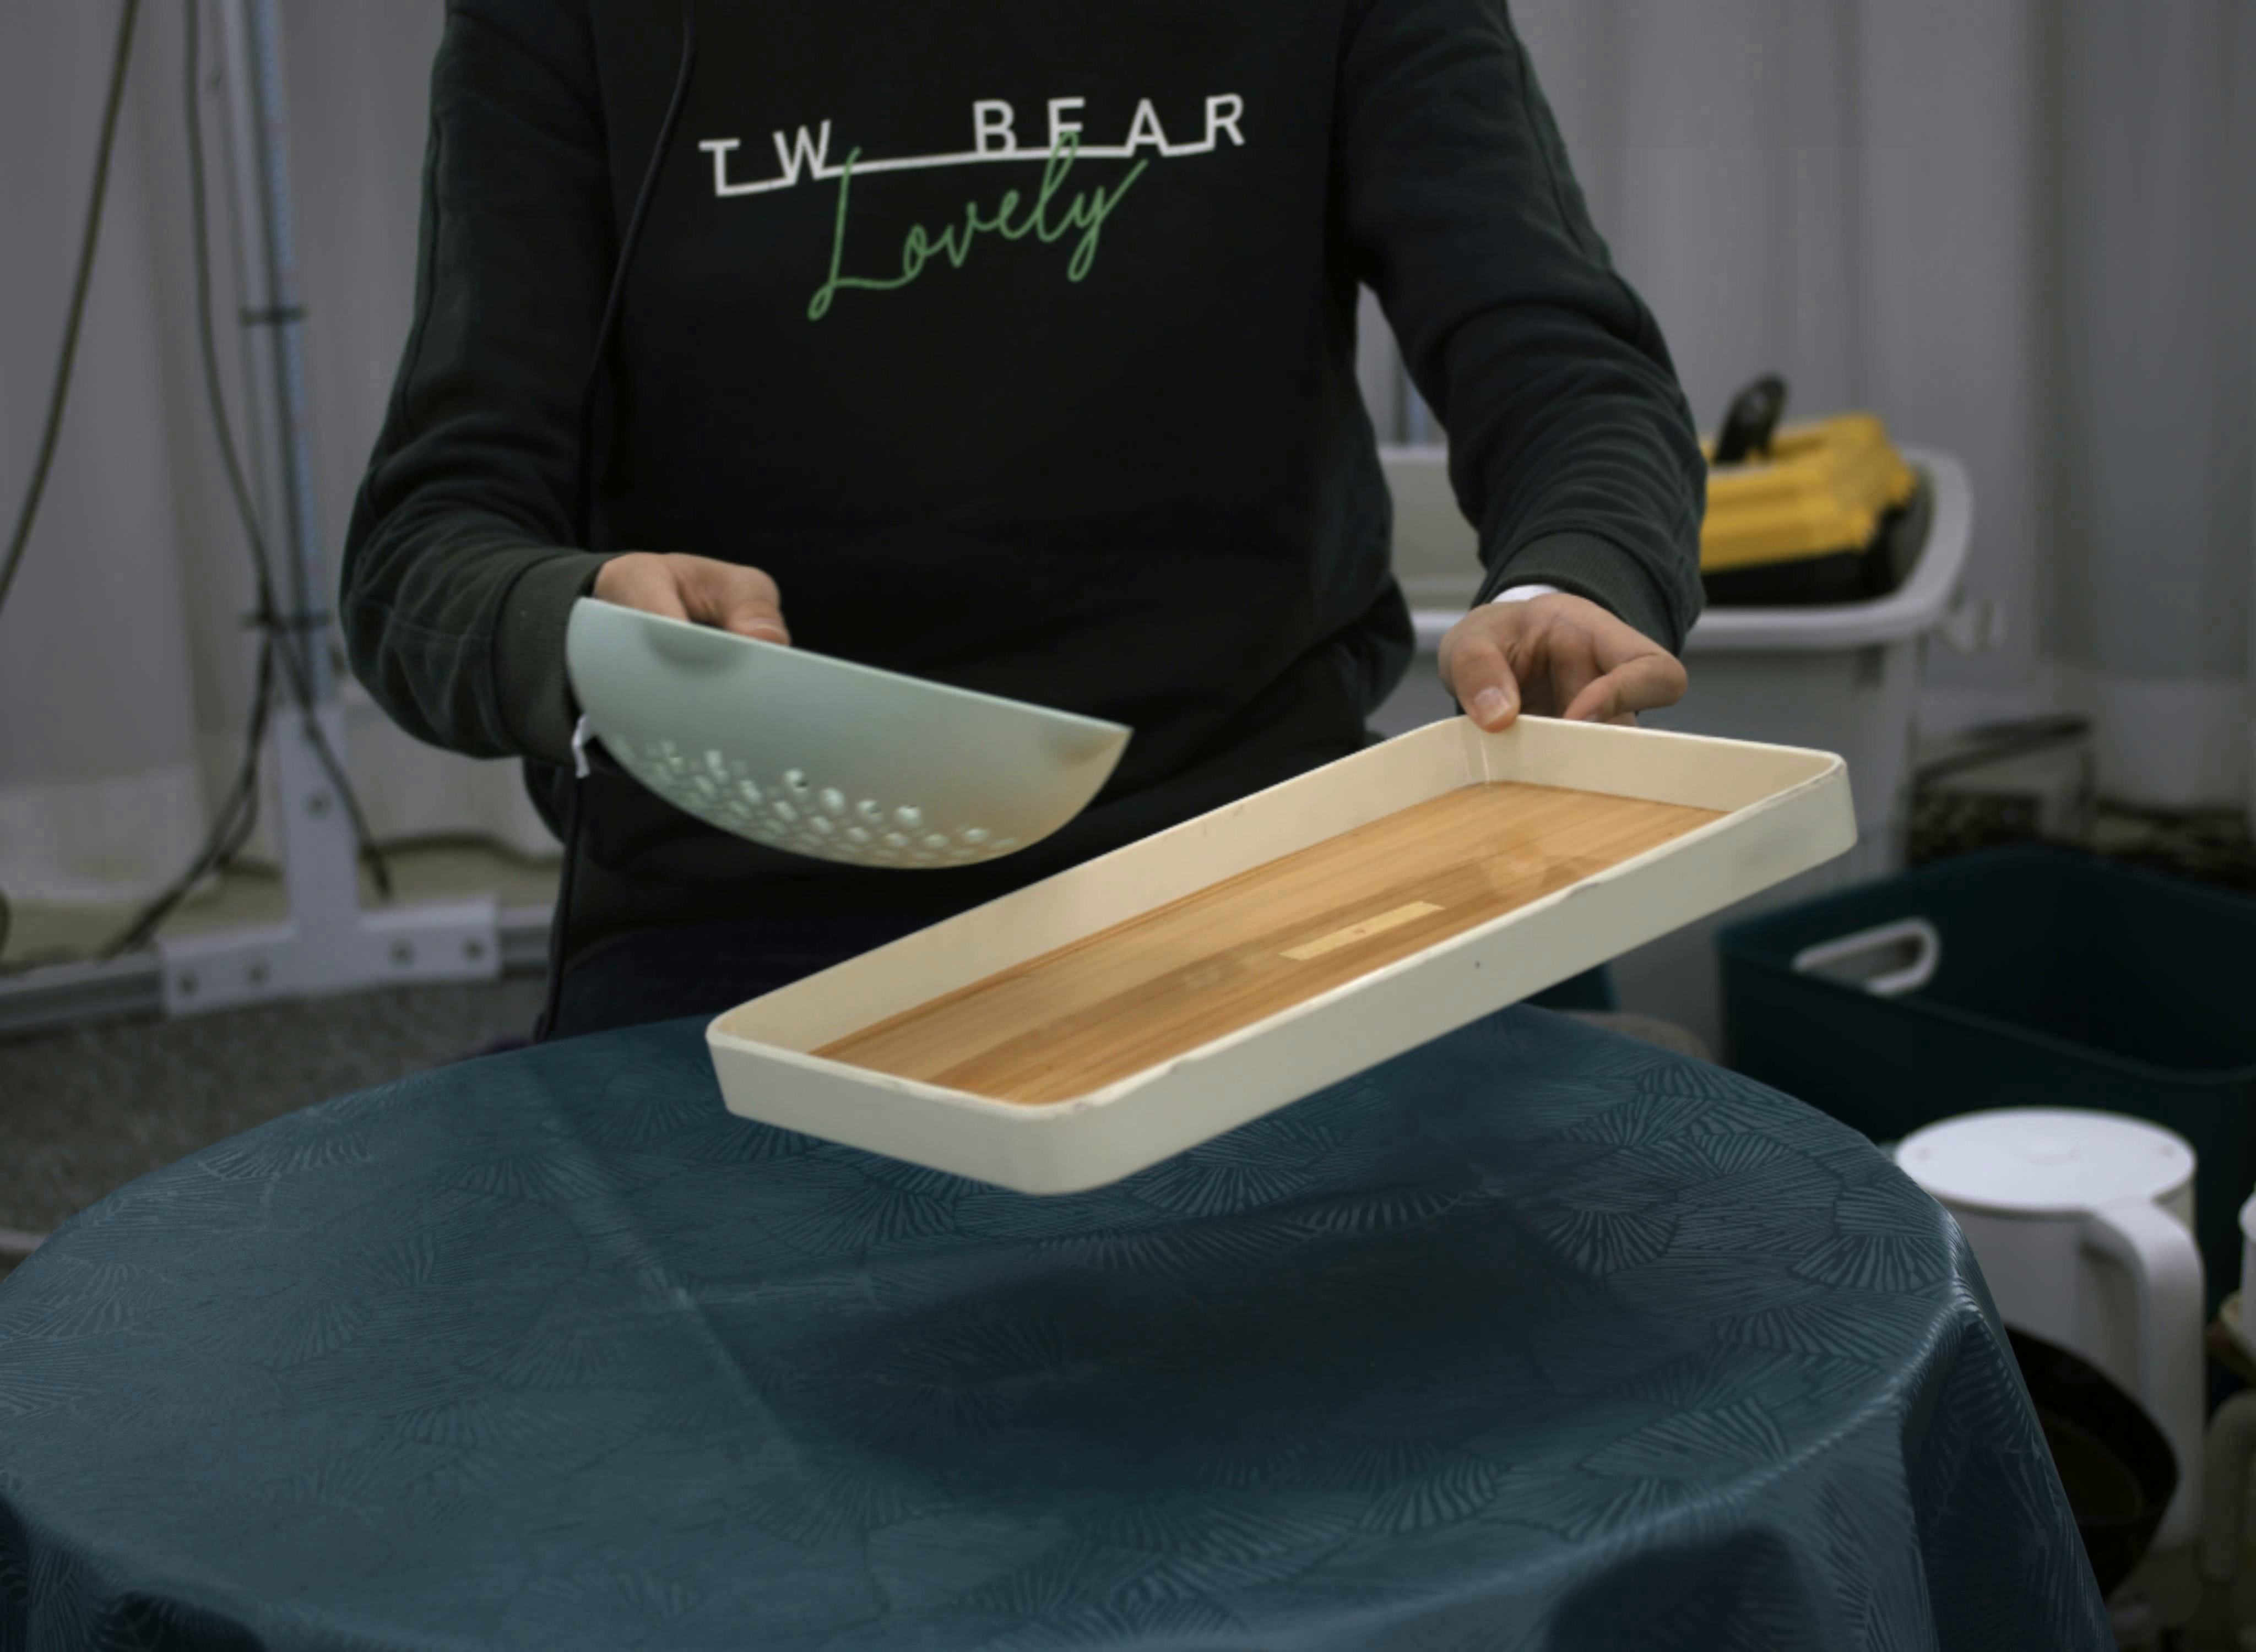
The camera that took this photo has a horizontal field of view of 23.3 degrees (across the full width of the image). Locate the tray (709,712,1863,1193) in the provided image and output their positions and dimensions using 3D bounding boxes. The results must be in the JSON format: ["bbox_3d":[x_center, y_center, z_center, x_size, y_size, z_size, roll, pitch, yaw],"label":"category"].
[{"bbox_3d":[0.047,0.031,1.579,0.300,0.027,0.192,-22,17,-31],"label":"tray"}]

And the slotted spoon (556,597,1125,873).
[{"bbox_3d":[-0.109,-0.042,1.684,0.168,0.075,0.361,15,8,-14],"label":"slotted spoon"}]
